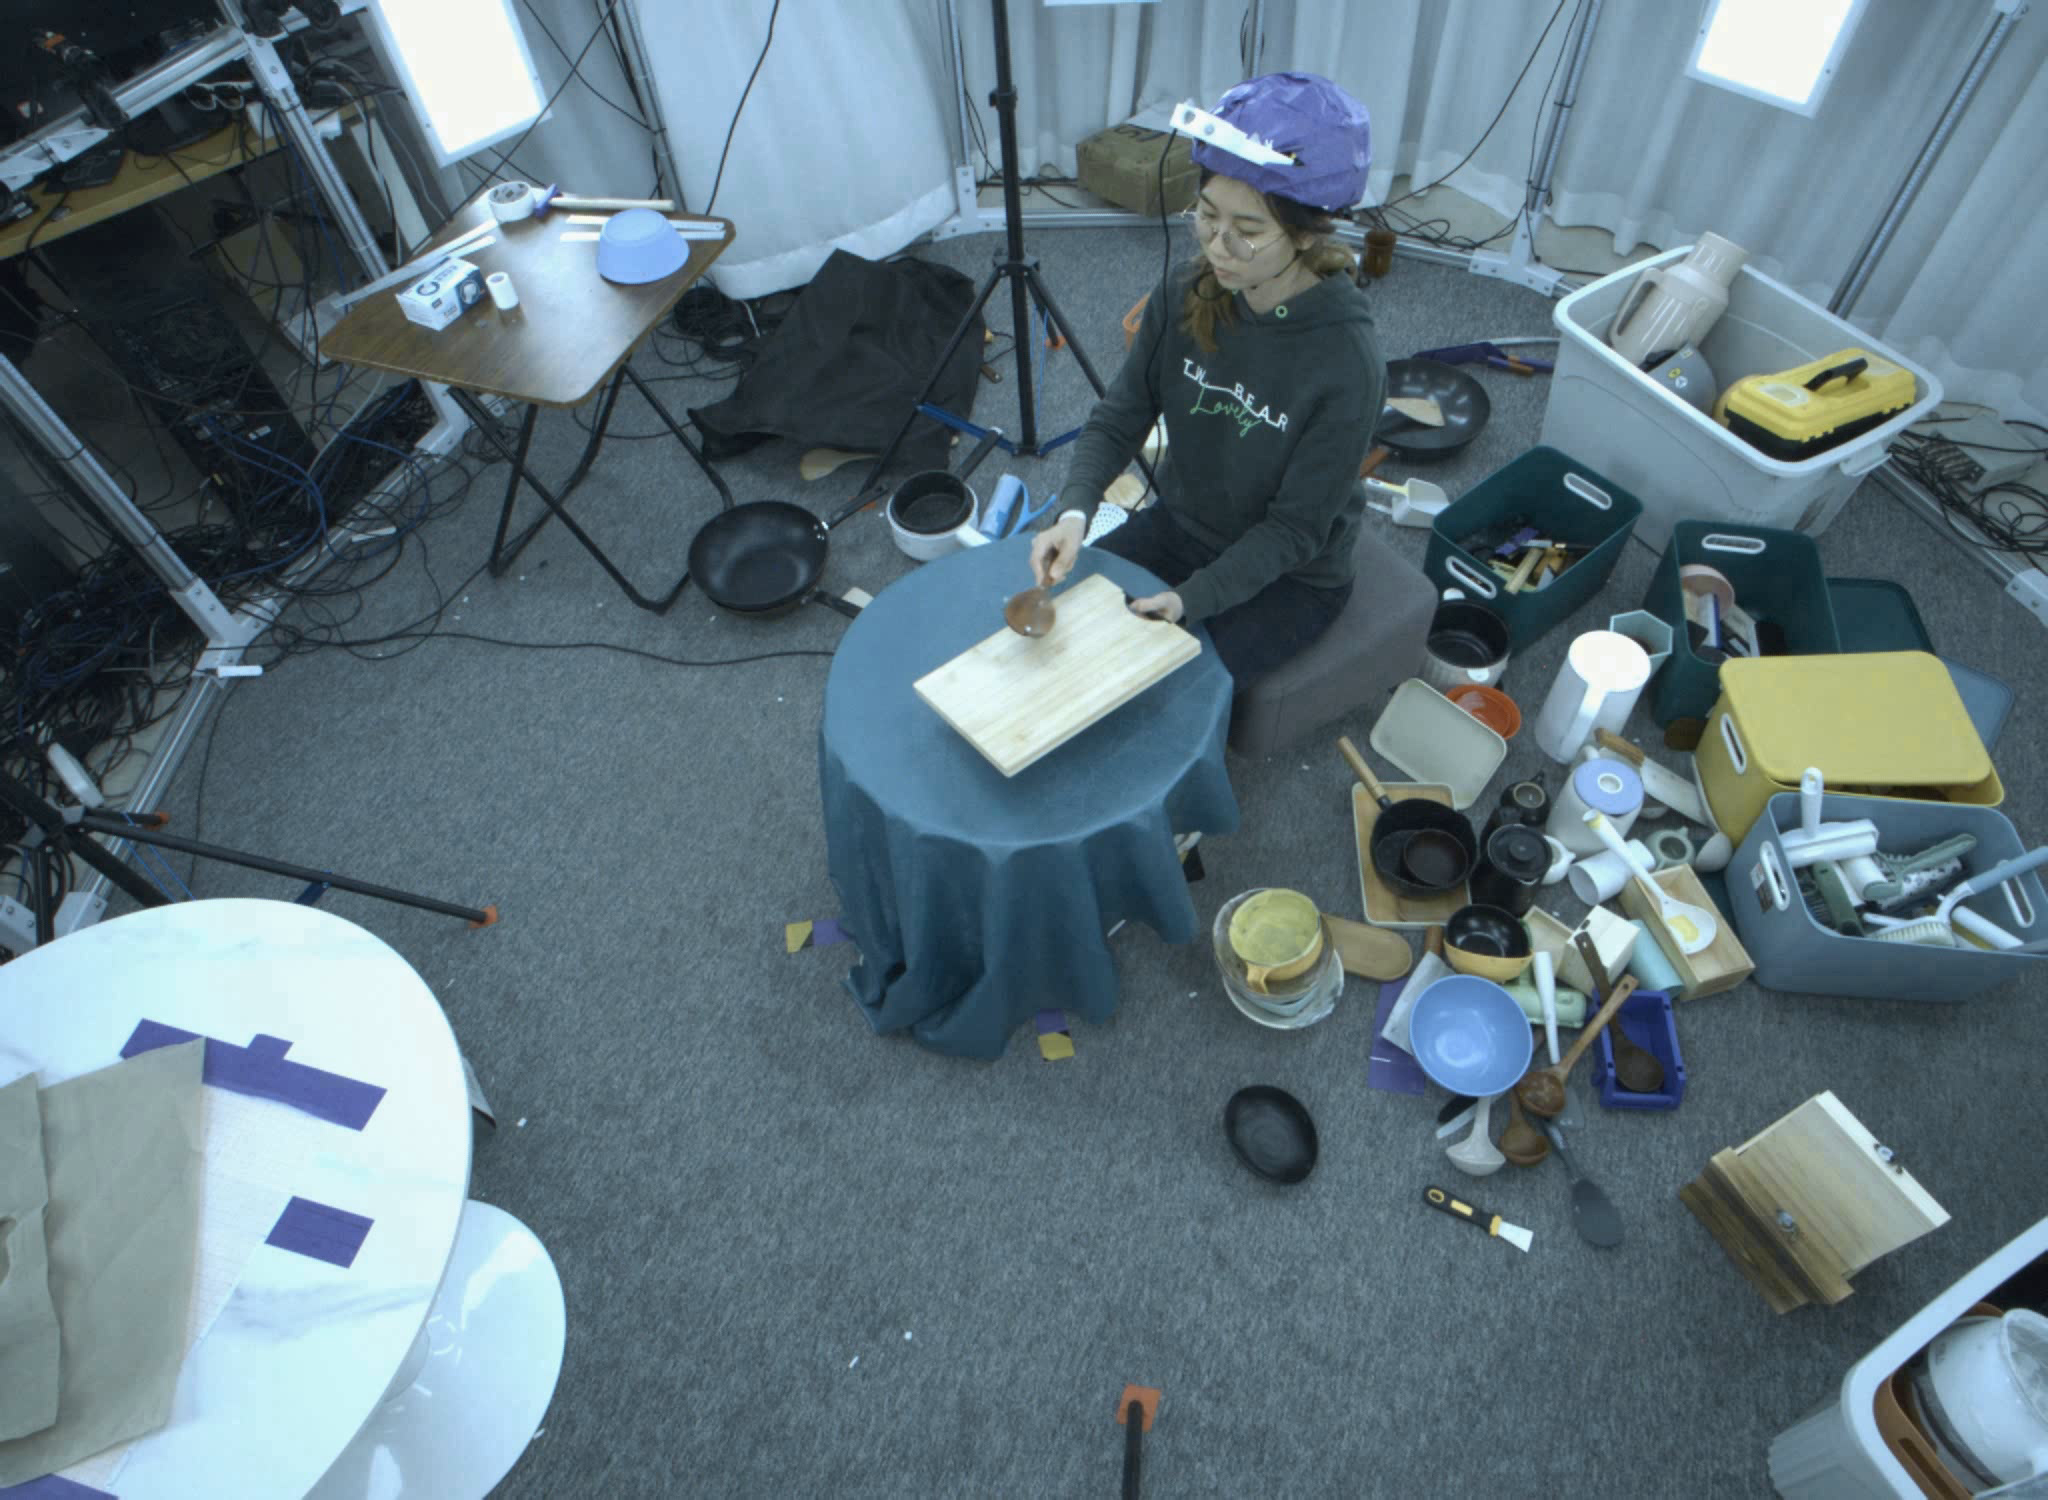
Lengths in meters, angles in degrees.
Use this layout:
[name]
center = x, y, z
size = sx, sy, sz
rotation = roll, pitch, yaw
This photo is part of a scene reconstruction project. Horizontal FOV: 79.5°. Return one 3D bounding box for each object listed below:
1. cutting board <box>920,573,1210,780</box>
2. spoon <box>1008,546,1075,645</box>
[cutting board]
center = 0.053, -0.115, 1.750
size = 0.351, 0.024, 0.245
rotation = -34, 50, -19
[spoon]
center = 0.034, -0.224, 1.774
size = 0.075, 0.017, 0.215
rotation = 25, 51, -2
